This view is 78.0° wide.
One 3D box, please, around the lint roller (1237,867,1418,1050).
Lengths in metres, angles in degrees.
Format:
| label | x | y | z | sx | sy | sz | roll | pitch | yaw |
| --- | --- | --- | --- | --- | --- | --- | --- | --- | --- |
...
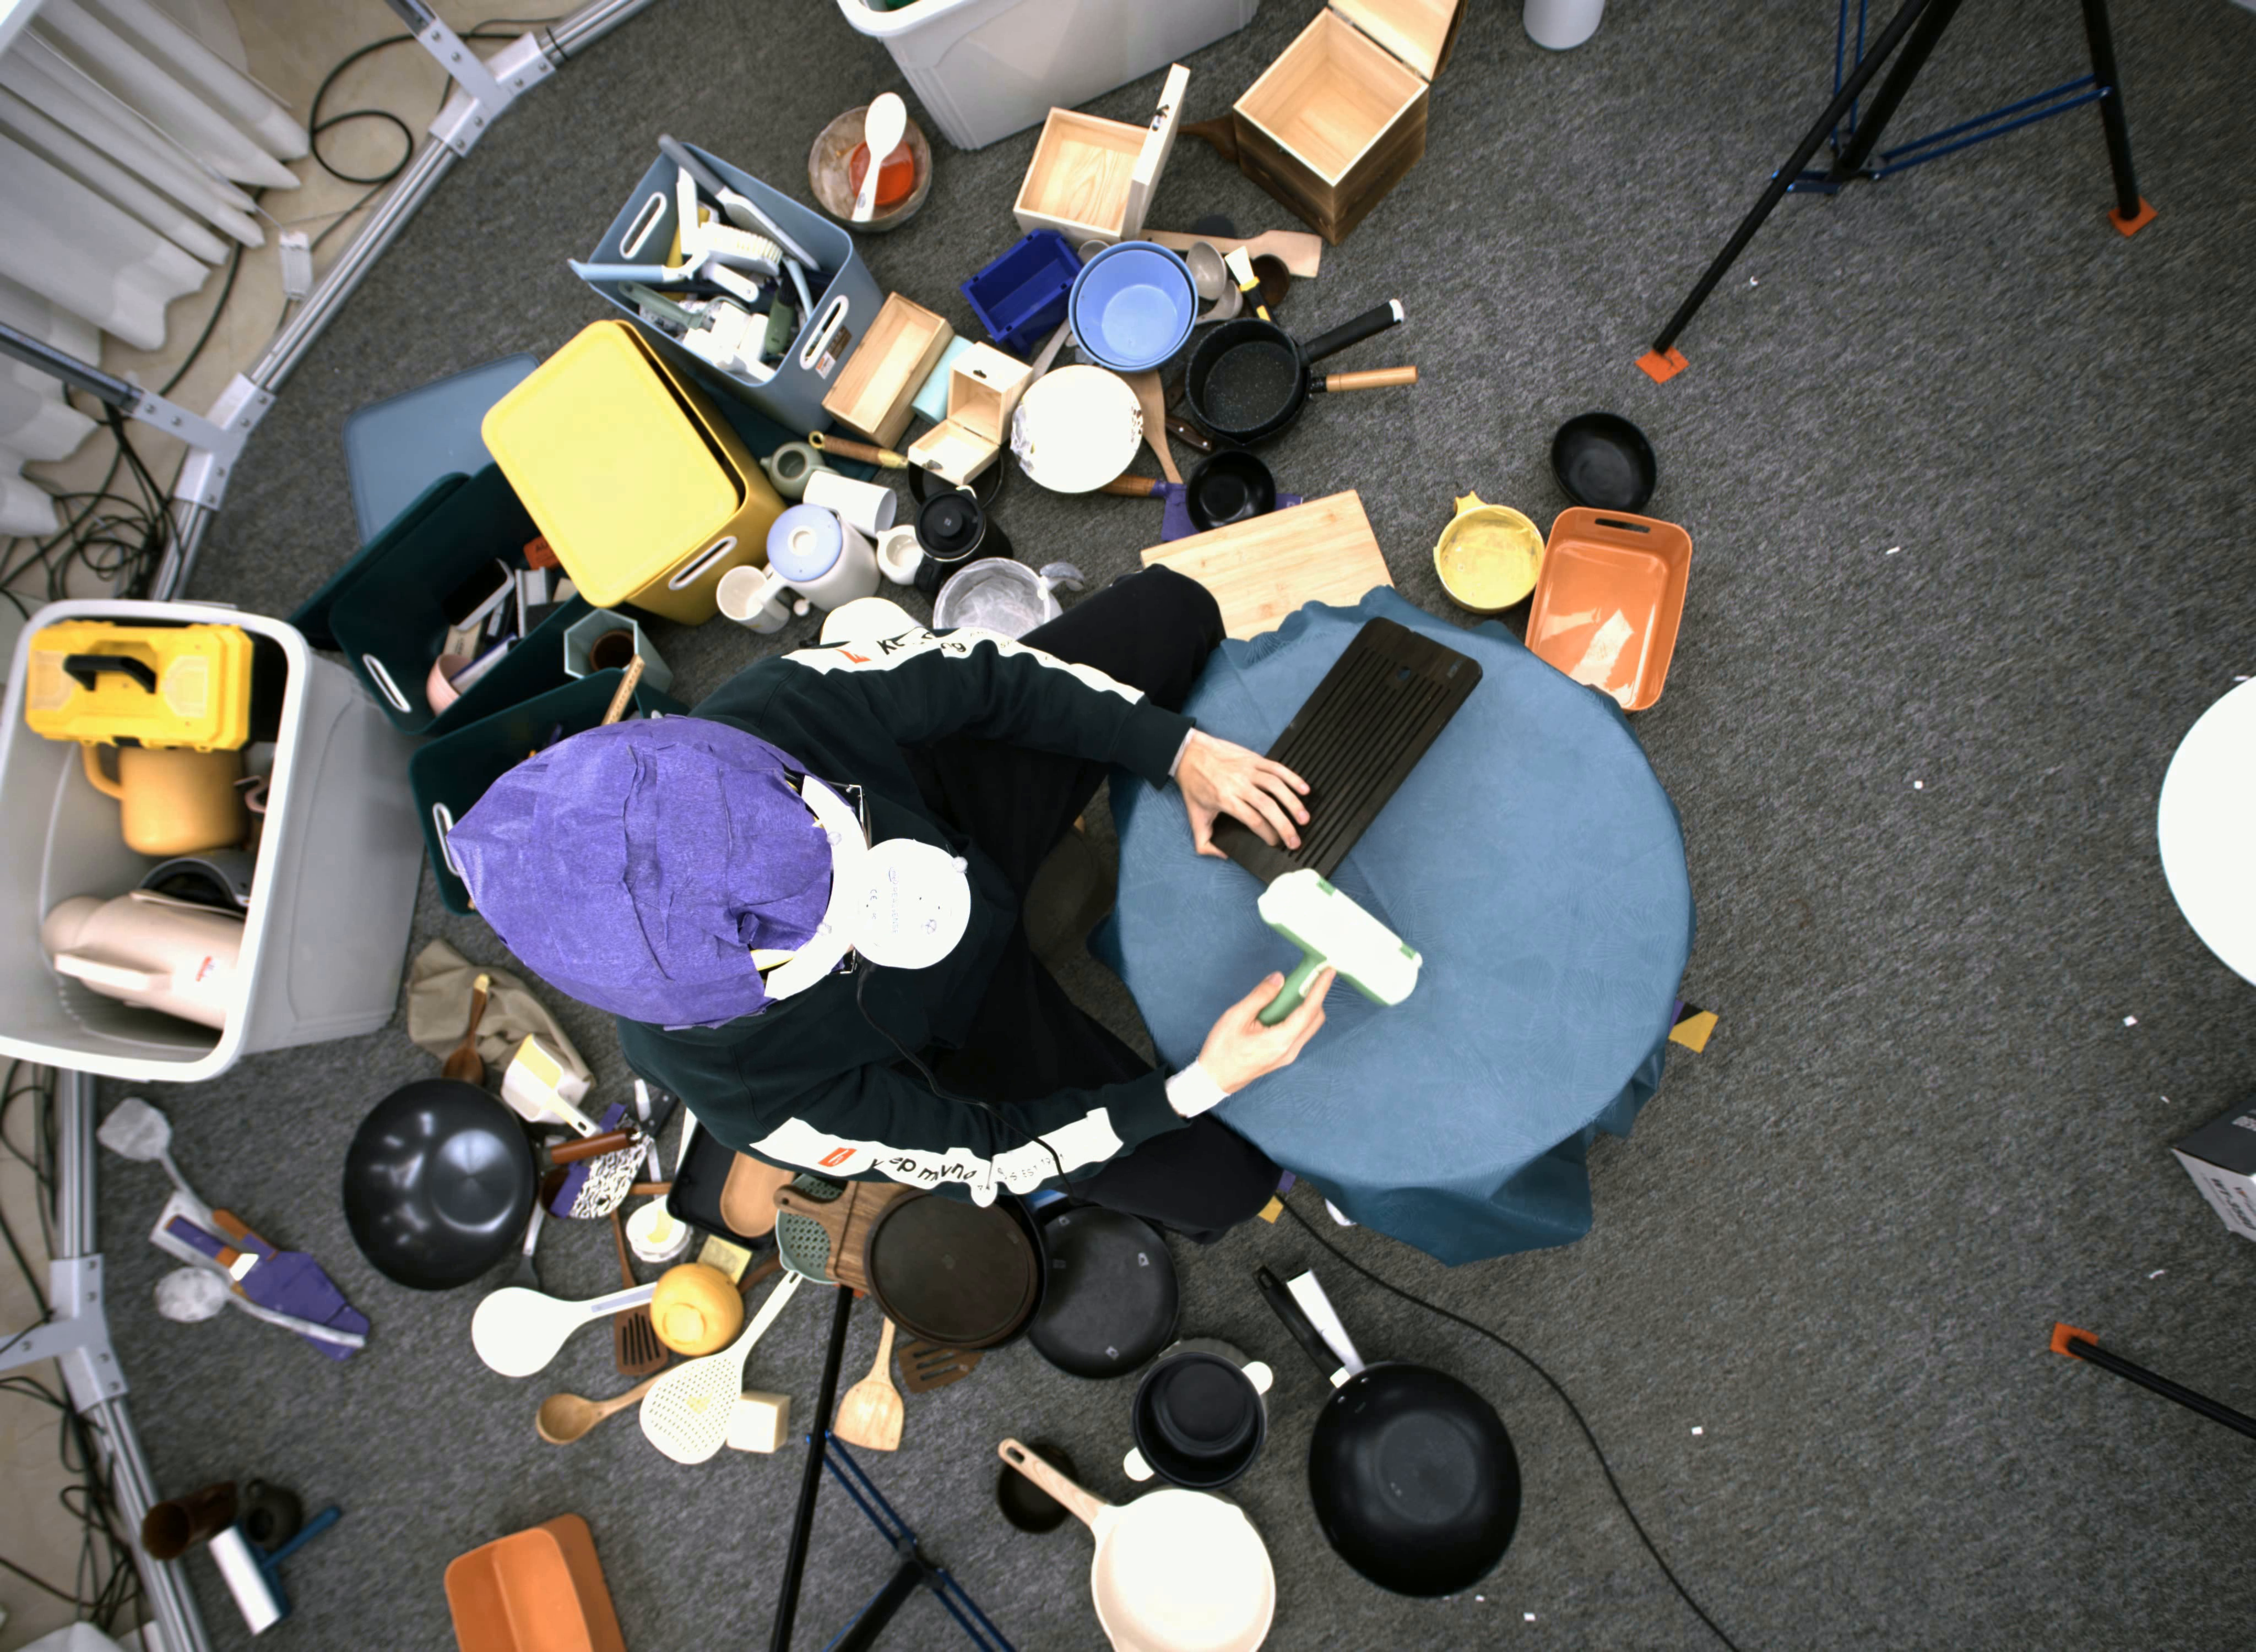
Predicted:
| label | x | y | z | sx | sy | sz | roll | pitch | yaw |
| --- | --- | --- | --- | --- | --- | --- | --- | --- | --- |
| lint roller | 0.179 | 0.155 | 1.350 | 0.183 | 0.200 | 0.081 | -54 | 35 | 1 |

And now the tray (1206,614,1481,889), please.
| label | x | y | z | sx | sy | sz | roll | pitch | yaw |
| --- | --- | --- | --- | --- | --- | --- | --- | --- | --- |
| tray | 0.219 | -0.073 | 1.421 | 0.307 | 0.019 | 0.168 | -53 | 43 | 4 |
